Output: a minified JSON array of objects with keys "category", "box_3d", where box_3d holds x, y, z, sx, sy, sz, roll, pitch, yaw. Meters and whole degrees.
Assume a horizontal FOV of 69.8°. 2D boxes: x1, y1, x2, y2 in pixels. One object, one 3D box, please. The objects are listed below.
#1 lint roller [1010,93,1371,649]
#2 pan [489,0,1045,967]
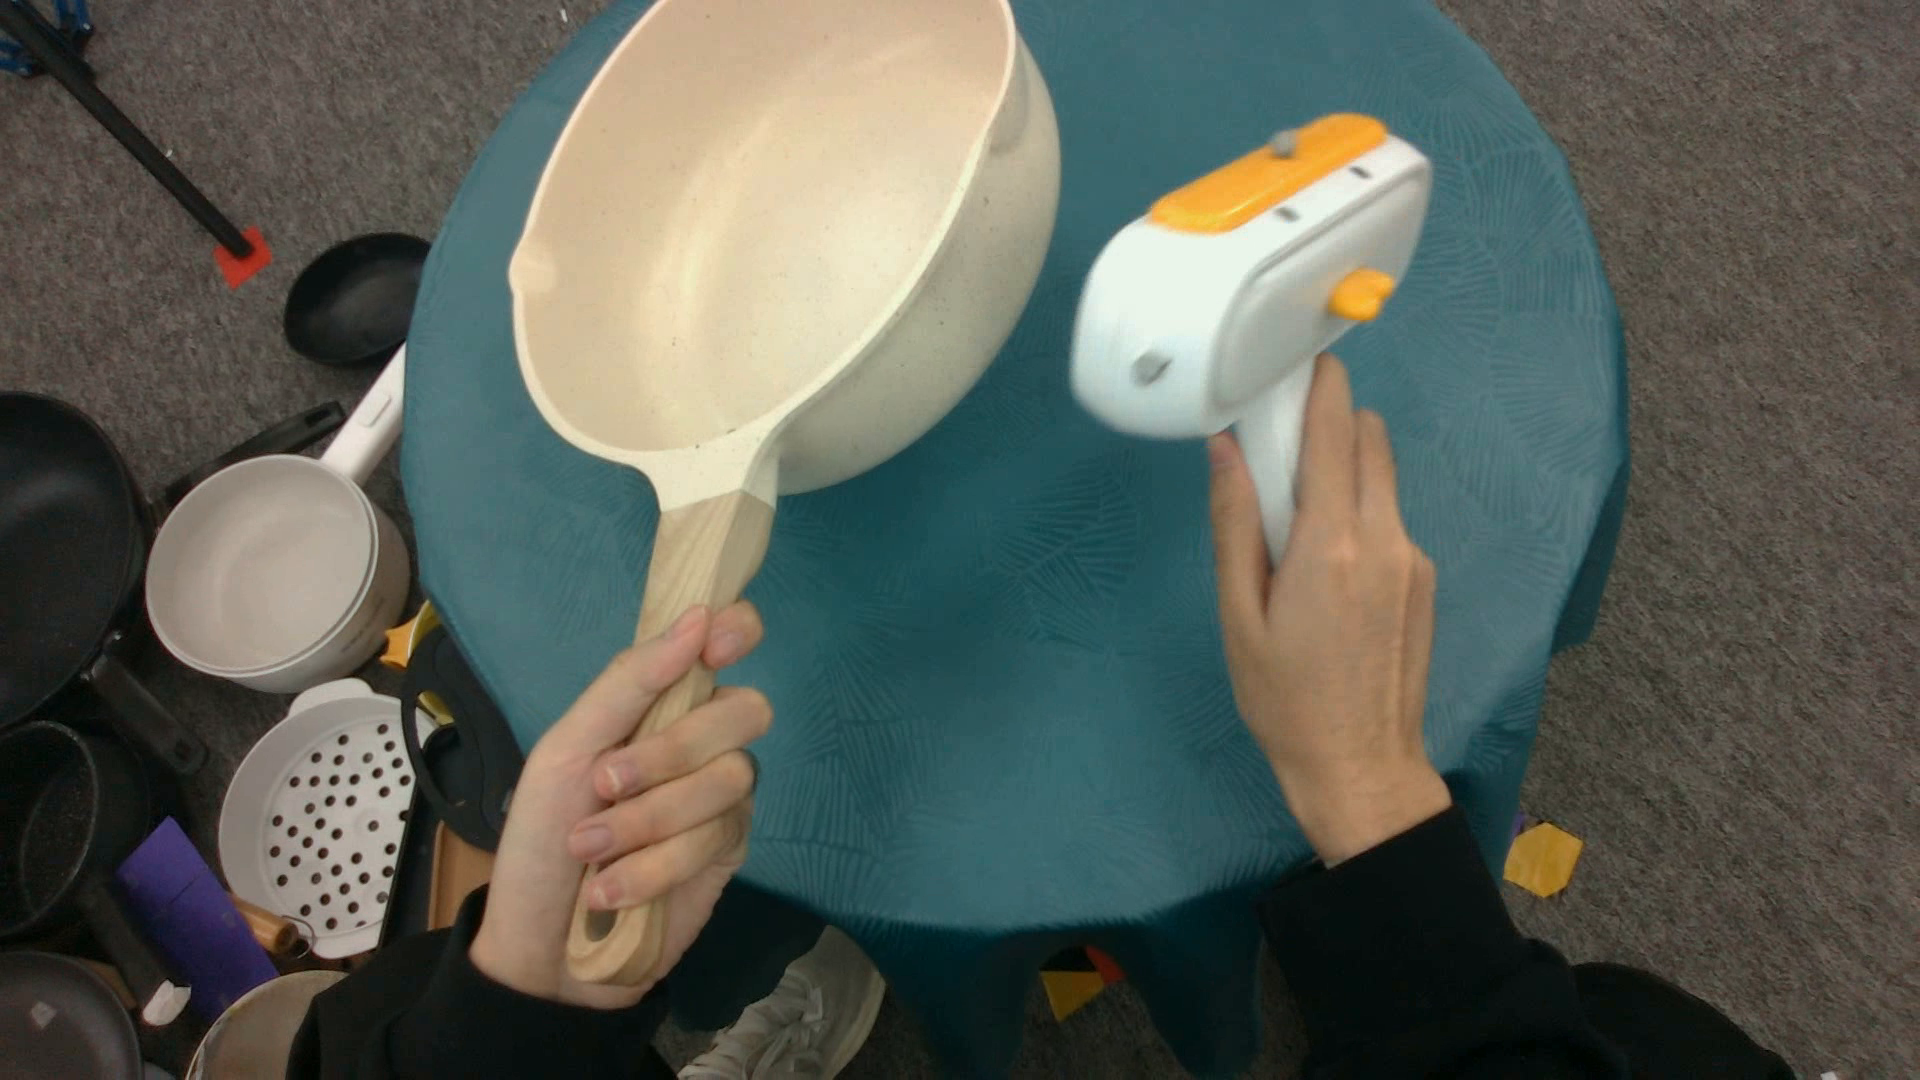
[{"category":"lint roller","box_3d":[0.101,-0.044,0.500,0.074,0.191,0.194,10,39,32]},{"category":"pan","box_3d":[-0.080,-0.057,0.534,0.262,0.102,0.436,-13,63,28]}]
